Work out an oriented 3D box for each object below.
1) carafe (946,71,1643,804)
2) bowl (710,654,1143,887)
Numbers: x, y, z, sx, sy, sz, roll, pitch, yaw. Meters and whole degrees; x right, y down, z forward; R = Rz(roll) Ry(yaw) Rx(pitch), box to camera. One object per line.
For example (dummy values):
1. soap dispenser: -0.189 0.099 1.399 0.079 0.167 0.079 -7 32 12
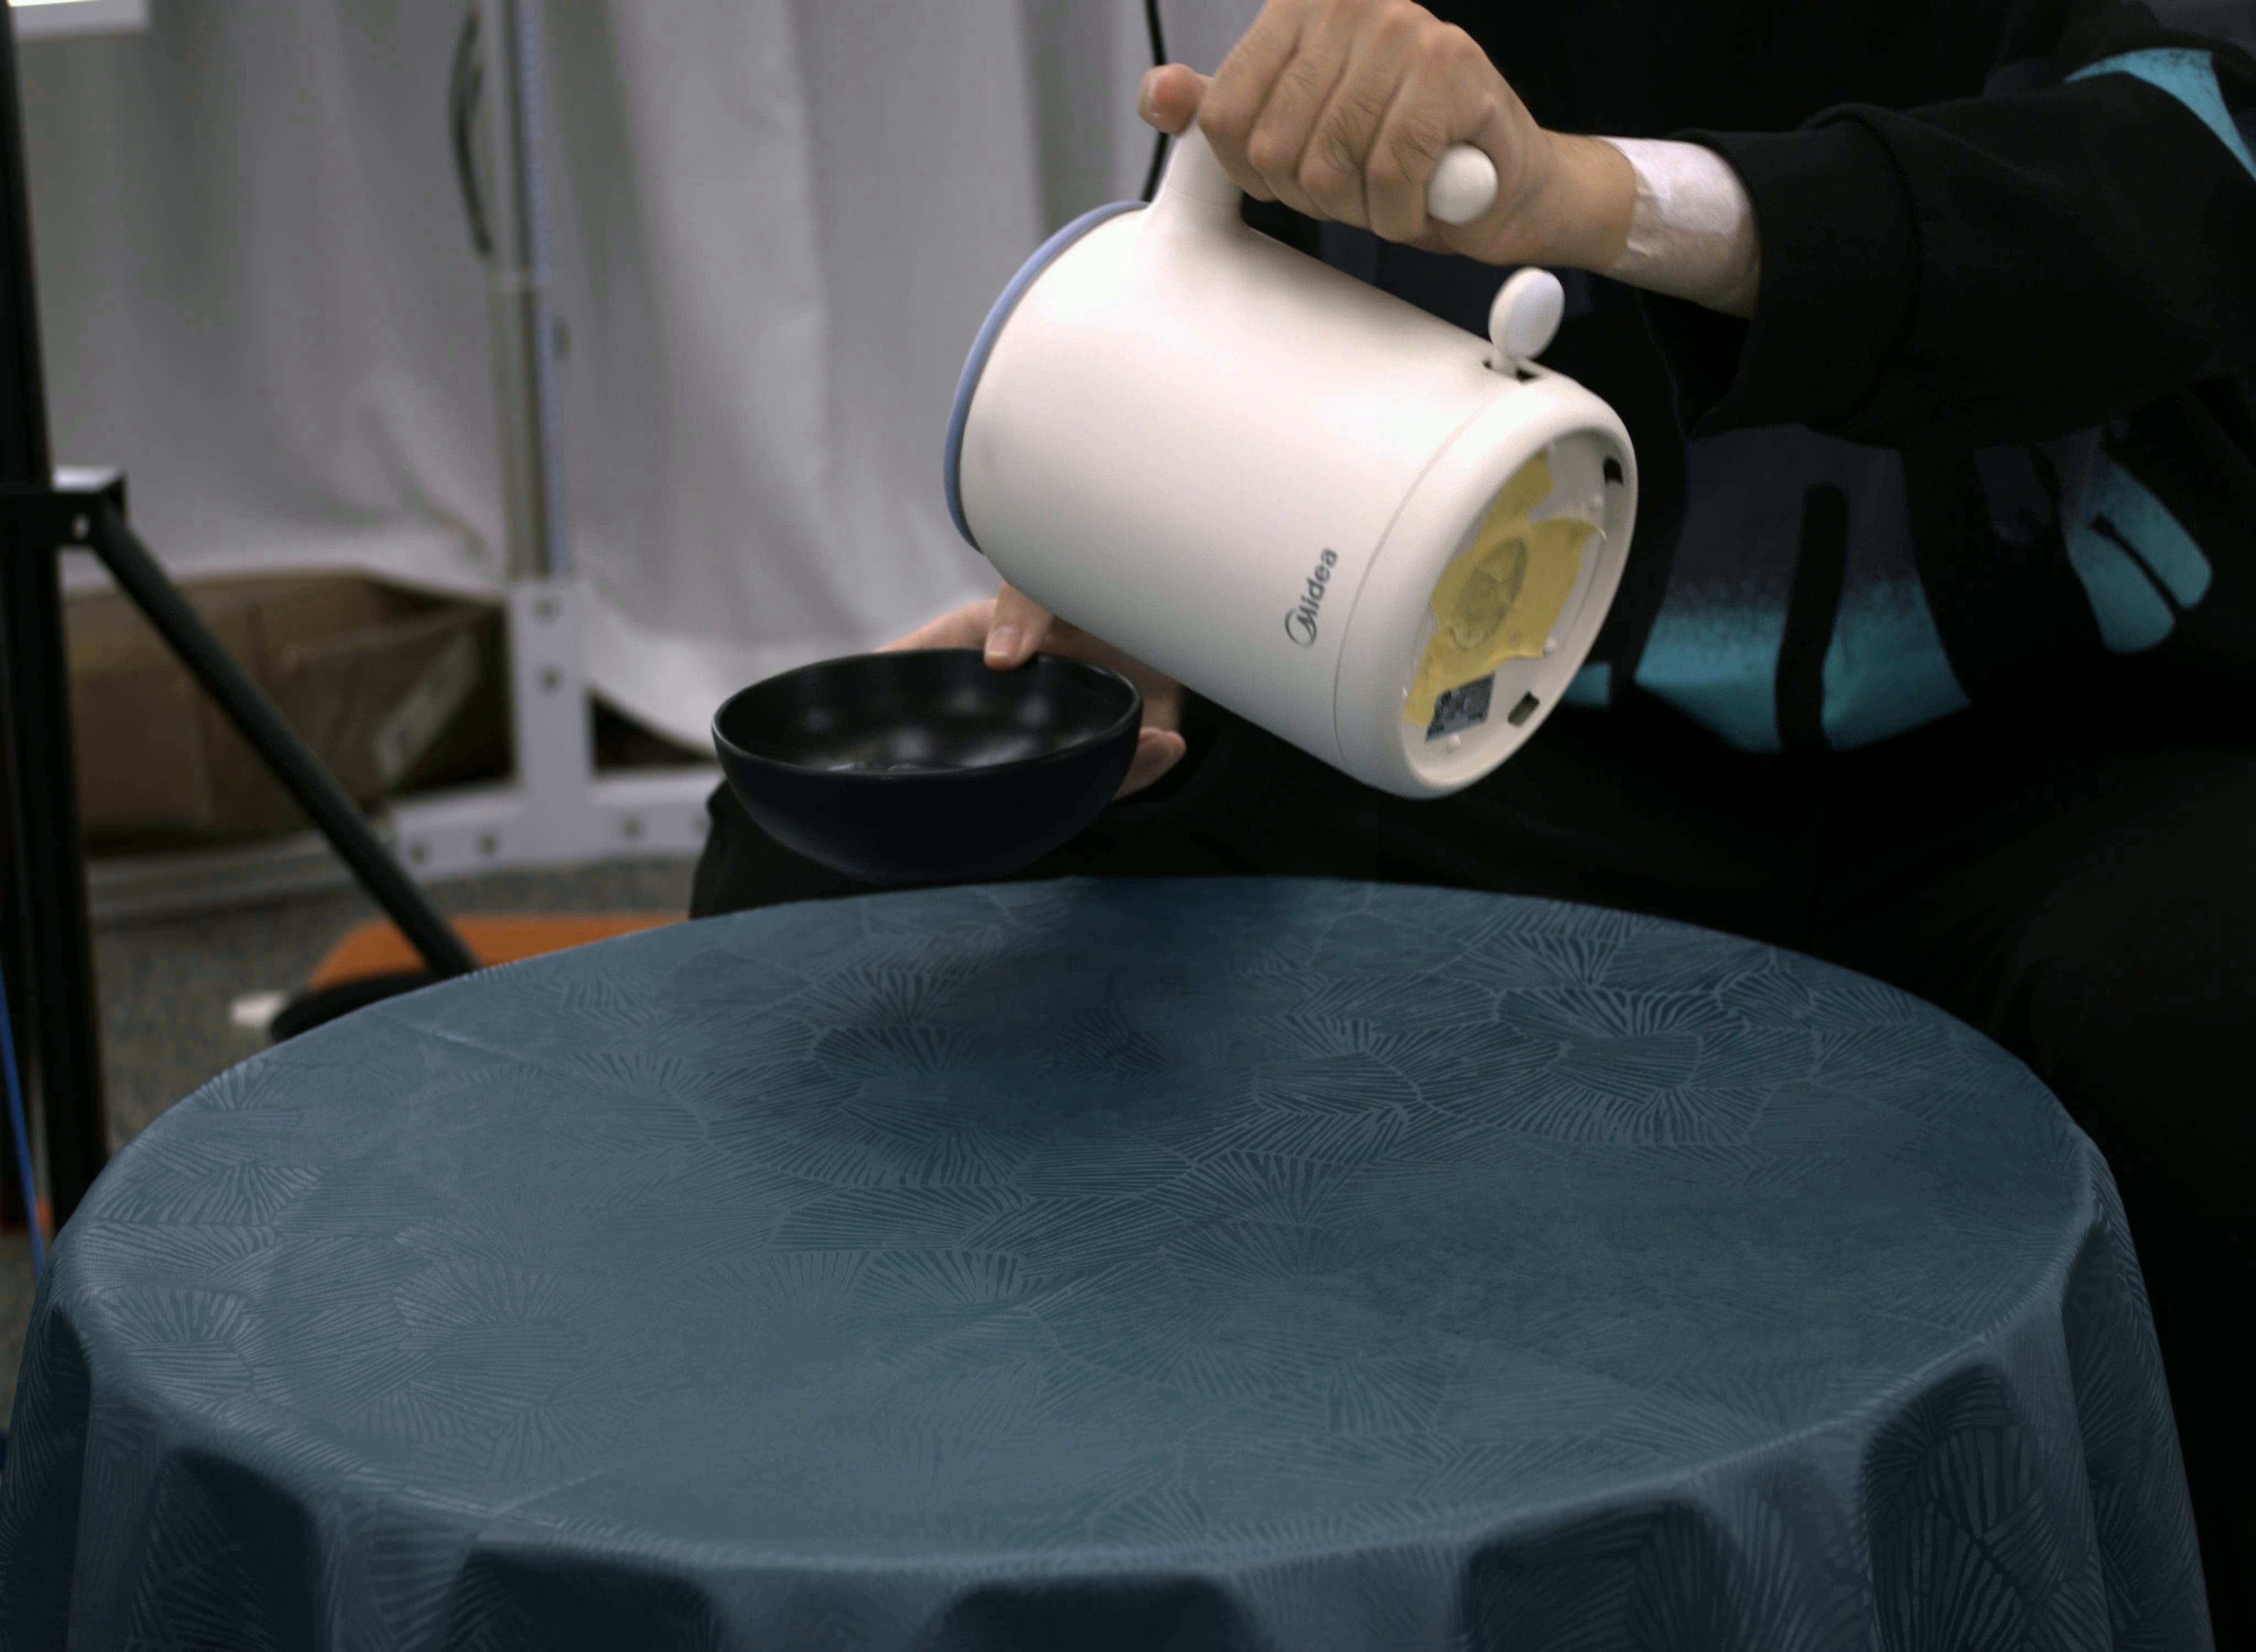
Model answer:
1. carafe: 0.056 -0.120 1.563 0.186 0.192 0.129 32 26 27
2. bowl: -0.063 -0.014 1.704 0.139 0.050 0.141 -2 17 -1
